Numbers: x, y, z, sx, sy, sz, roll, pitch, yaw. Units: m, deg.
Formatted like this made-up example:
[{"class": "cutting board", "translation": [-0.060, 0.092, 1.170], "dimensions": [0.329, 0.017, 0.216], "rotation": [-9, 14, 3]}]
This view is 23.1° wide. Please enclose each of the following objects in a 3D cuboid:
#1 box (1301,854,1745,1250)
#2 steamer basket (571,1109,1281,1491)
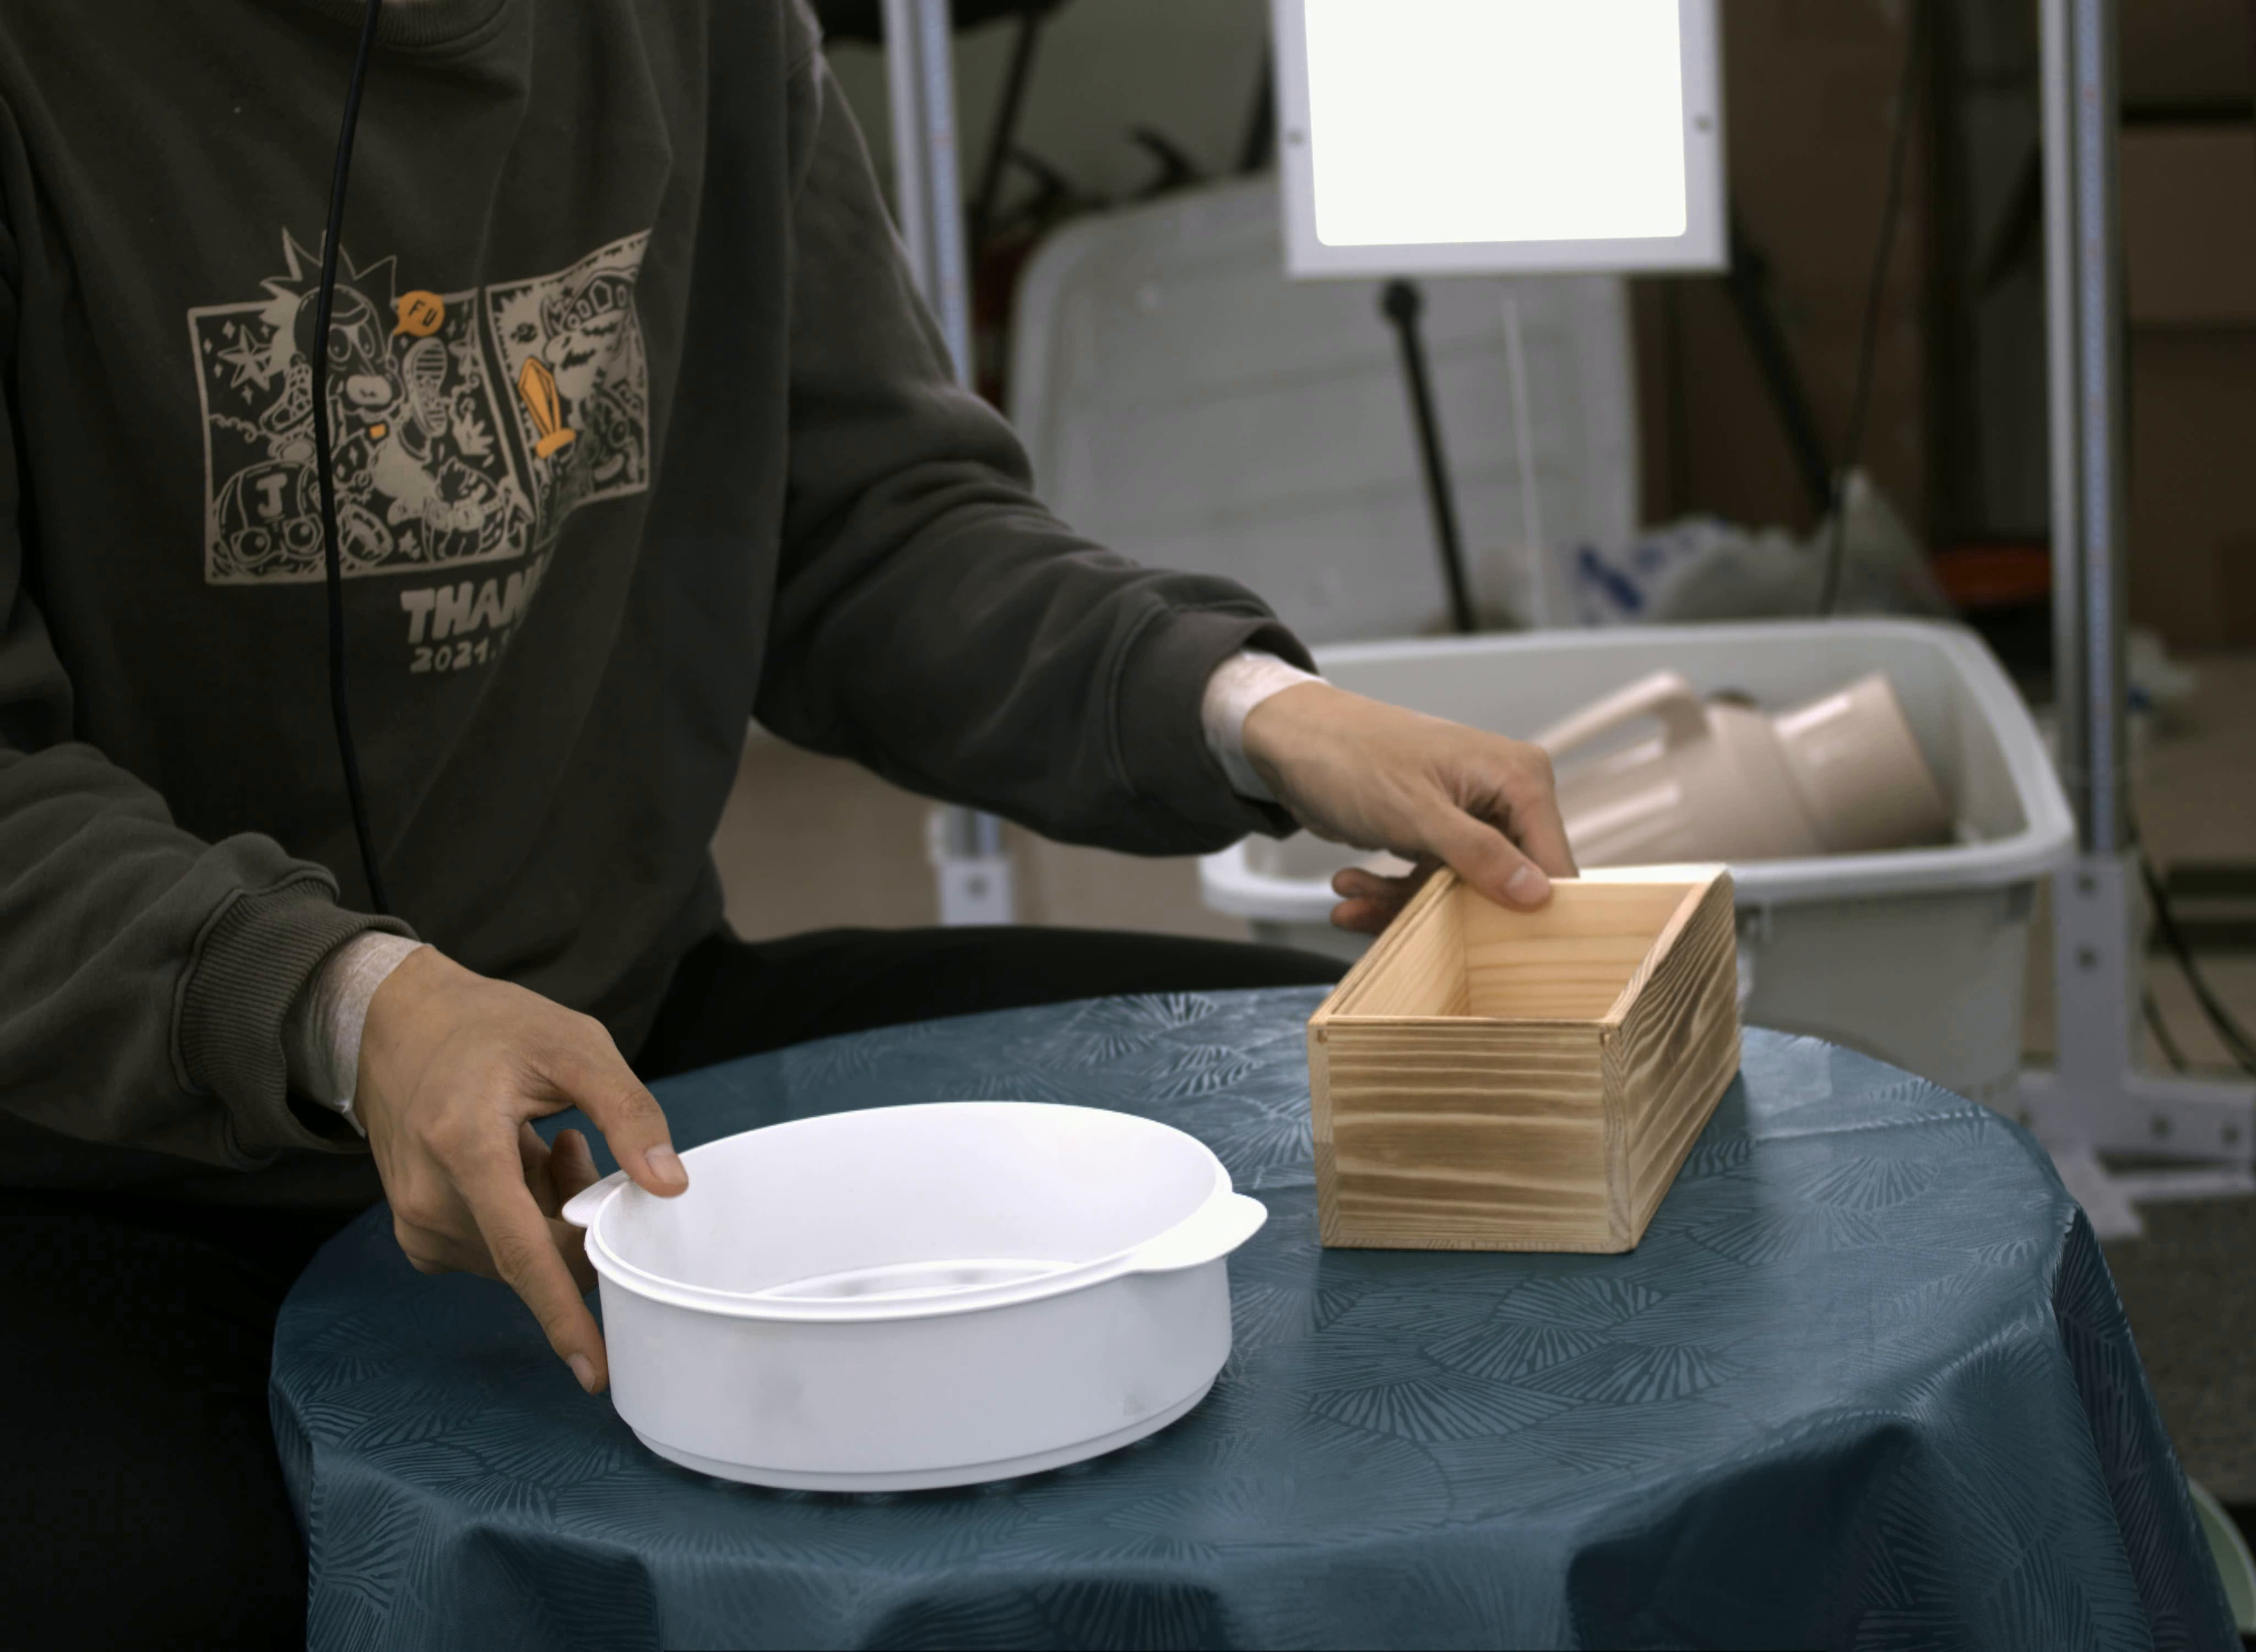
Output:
[{"class": "box", "translation": [0.140, 0.075, 1.887], "dimensions": [0.109, 0.080, 0.208], "rotation": [-1, 14, 18]}, {"class": "steamer basket", "translation": [-0.062, 0.145, 1.701], "dimensions": [0.234, 0.069, 0.197], "rotation": [1, 14, 27]}]
